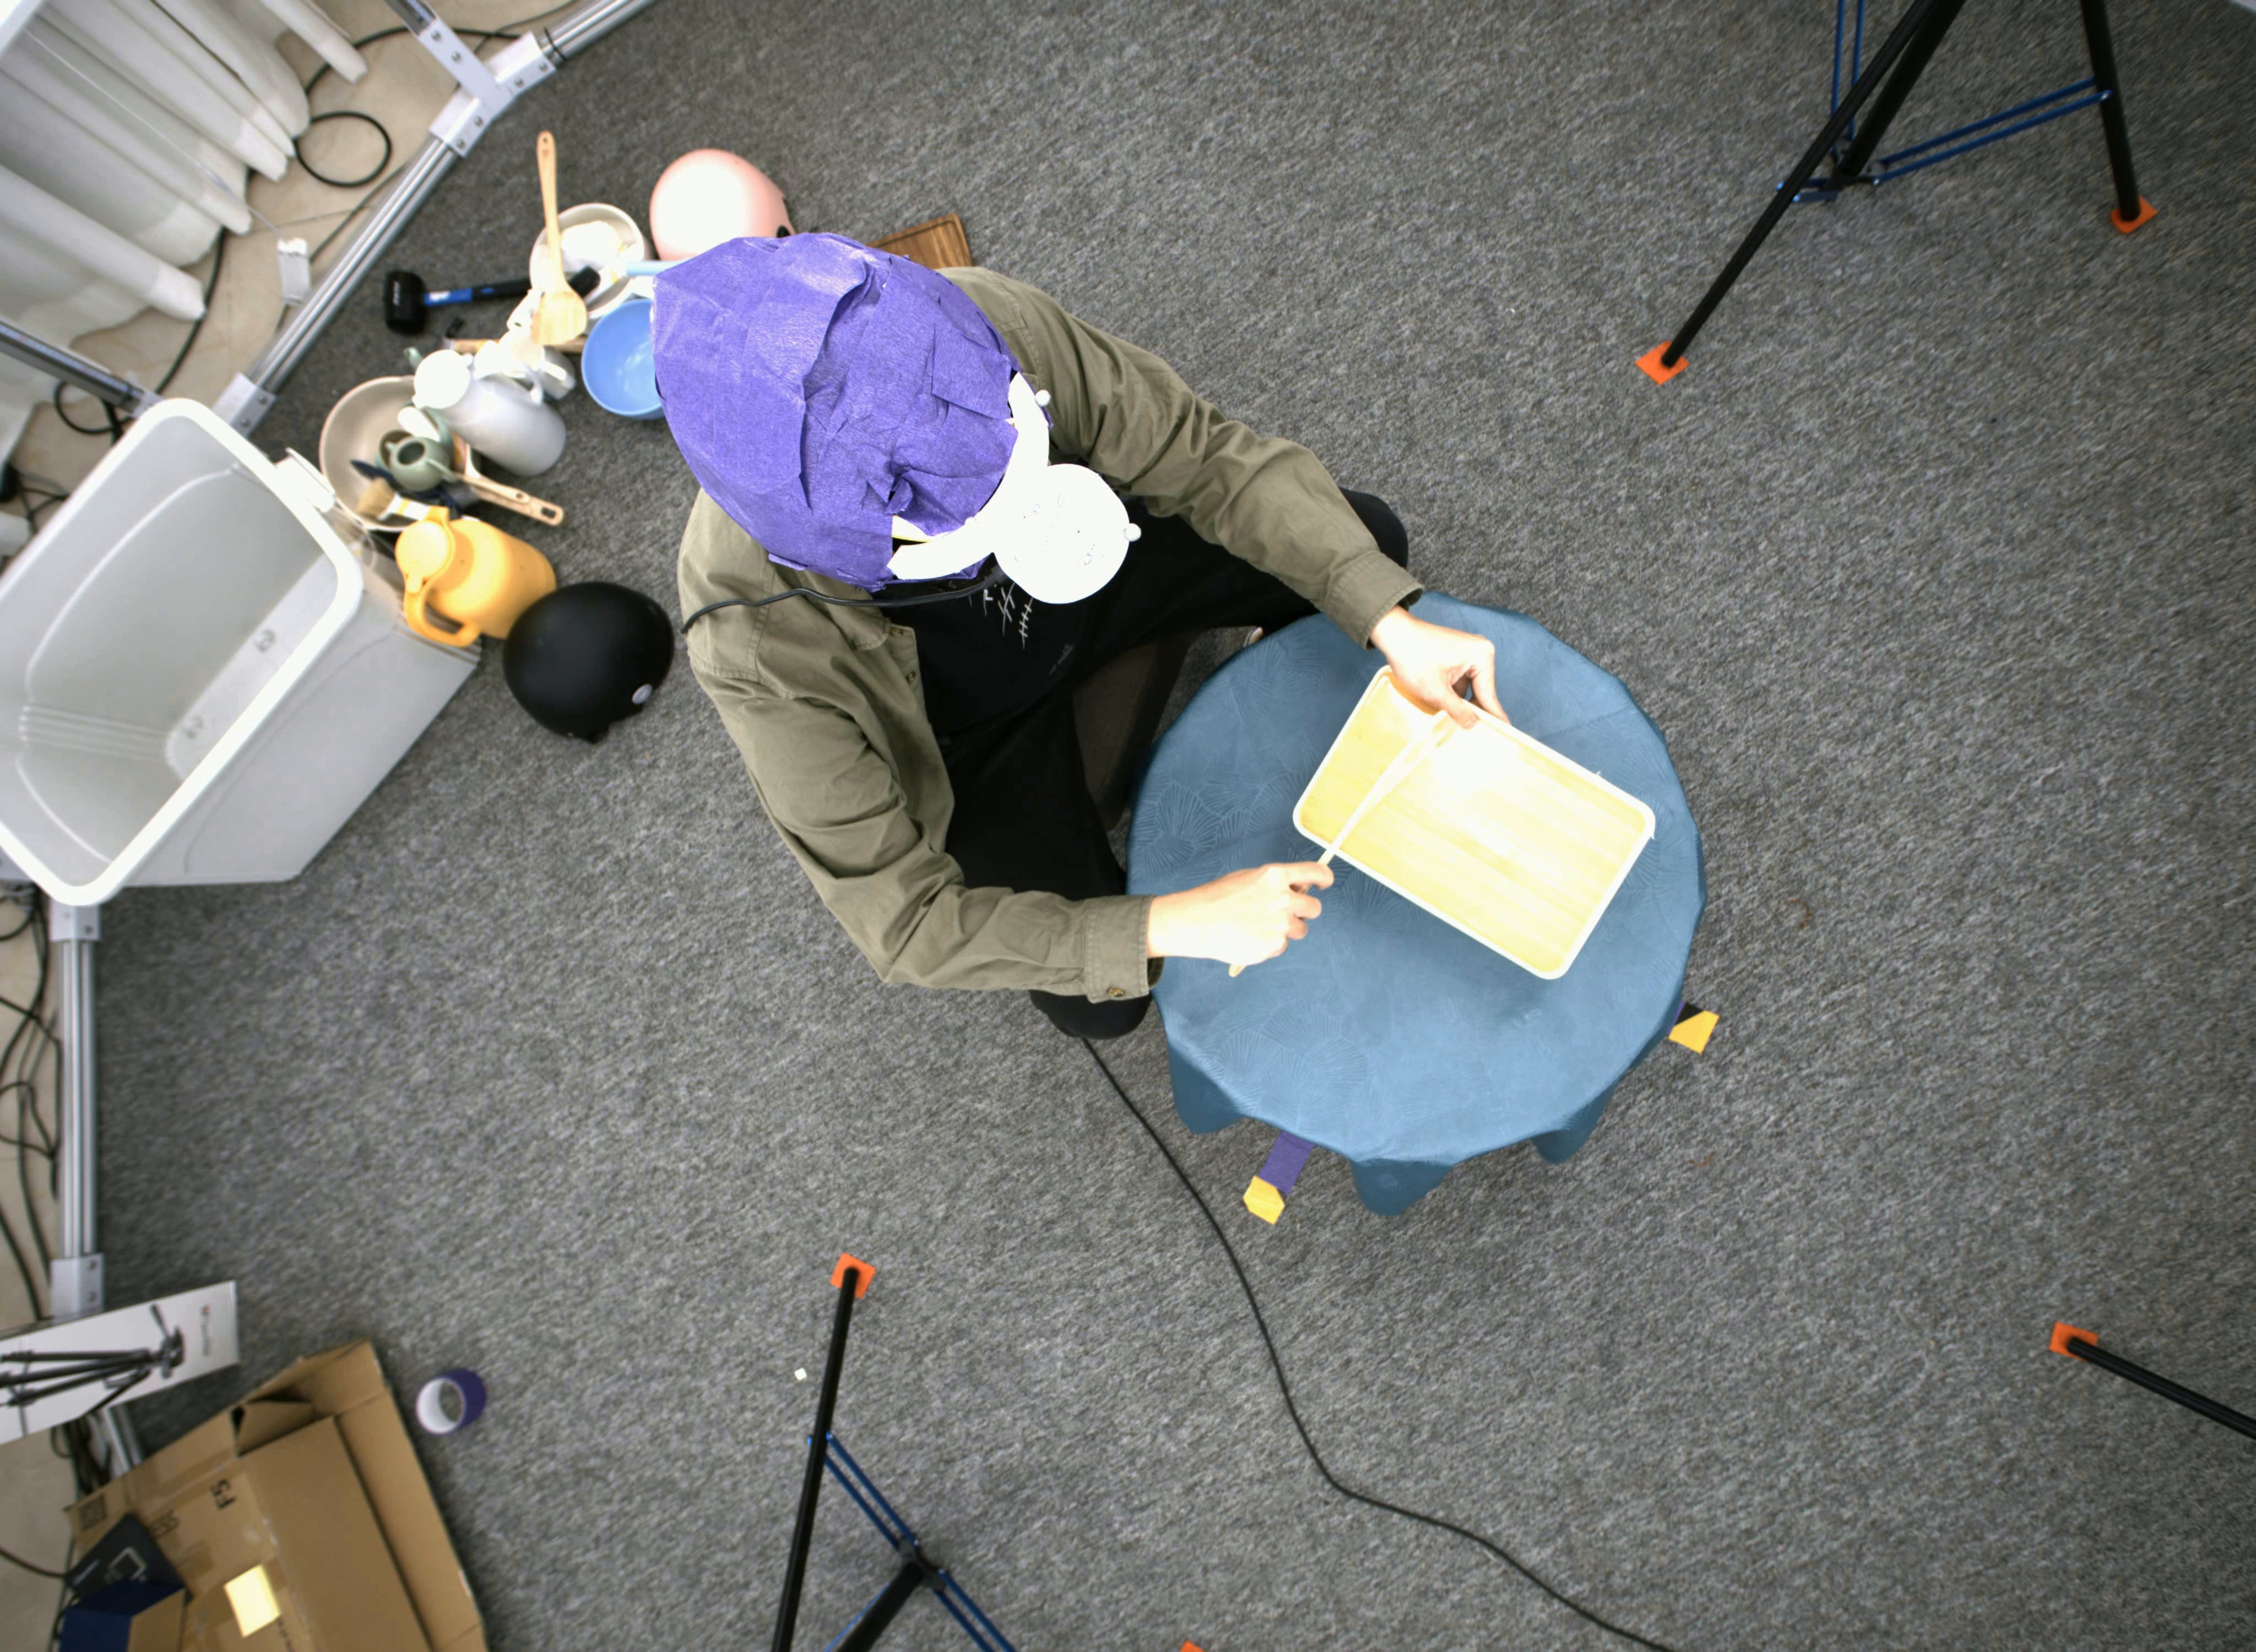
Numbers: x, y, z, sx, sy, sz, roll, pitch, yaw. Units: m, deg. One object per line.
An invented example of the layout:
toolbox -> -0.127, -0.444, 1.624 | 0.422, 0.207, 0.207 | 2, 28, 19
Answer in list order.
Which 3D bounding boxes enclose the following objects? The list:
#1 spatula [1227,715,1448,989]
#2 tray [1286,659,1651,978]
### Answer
spatula -> 0.194, 0.021, 1.263 | 0.016, 0.081, 0.325 | 36, 81, 19
tray -> 0.322, -0.010, 1.314 | 0.300, 0.027, 0.192 | 32, 96, 8
